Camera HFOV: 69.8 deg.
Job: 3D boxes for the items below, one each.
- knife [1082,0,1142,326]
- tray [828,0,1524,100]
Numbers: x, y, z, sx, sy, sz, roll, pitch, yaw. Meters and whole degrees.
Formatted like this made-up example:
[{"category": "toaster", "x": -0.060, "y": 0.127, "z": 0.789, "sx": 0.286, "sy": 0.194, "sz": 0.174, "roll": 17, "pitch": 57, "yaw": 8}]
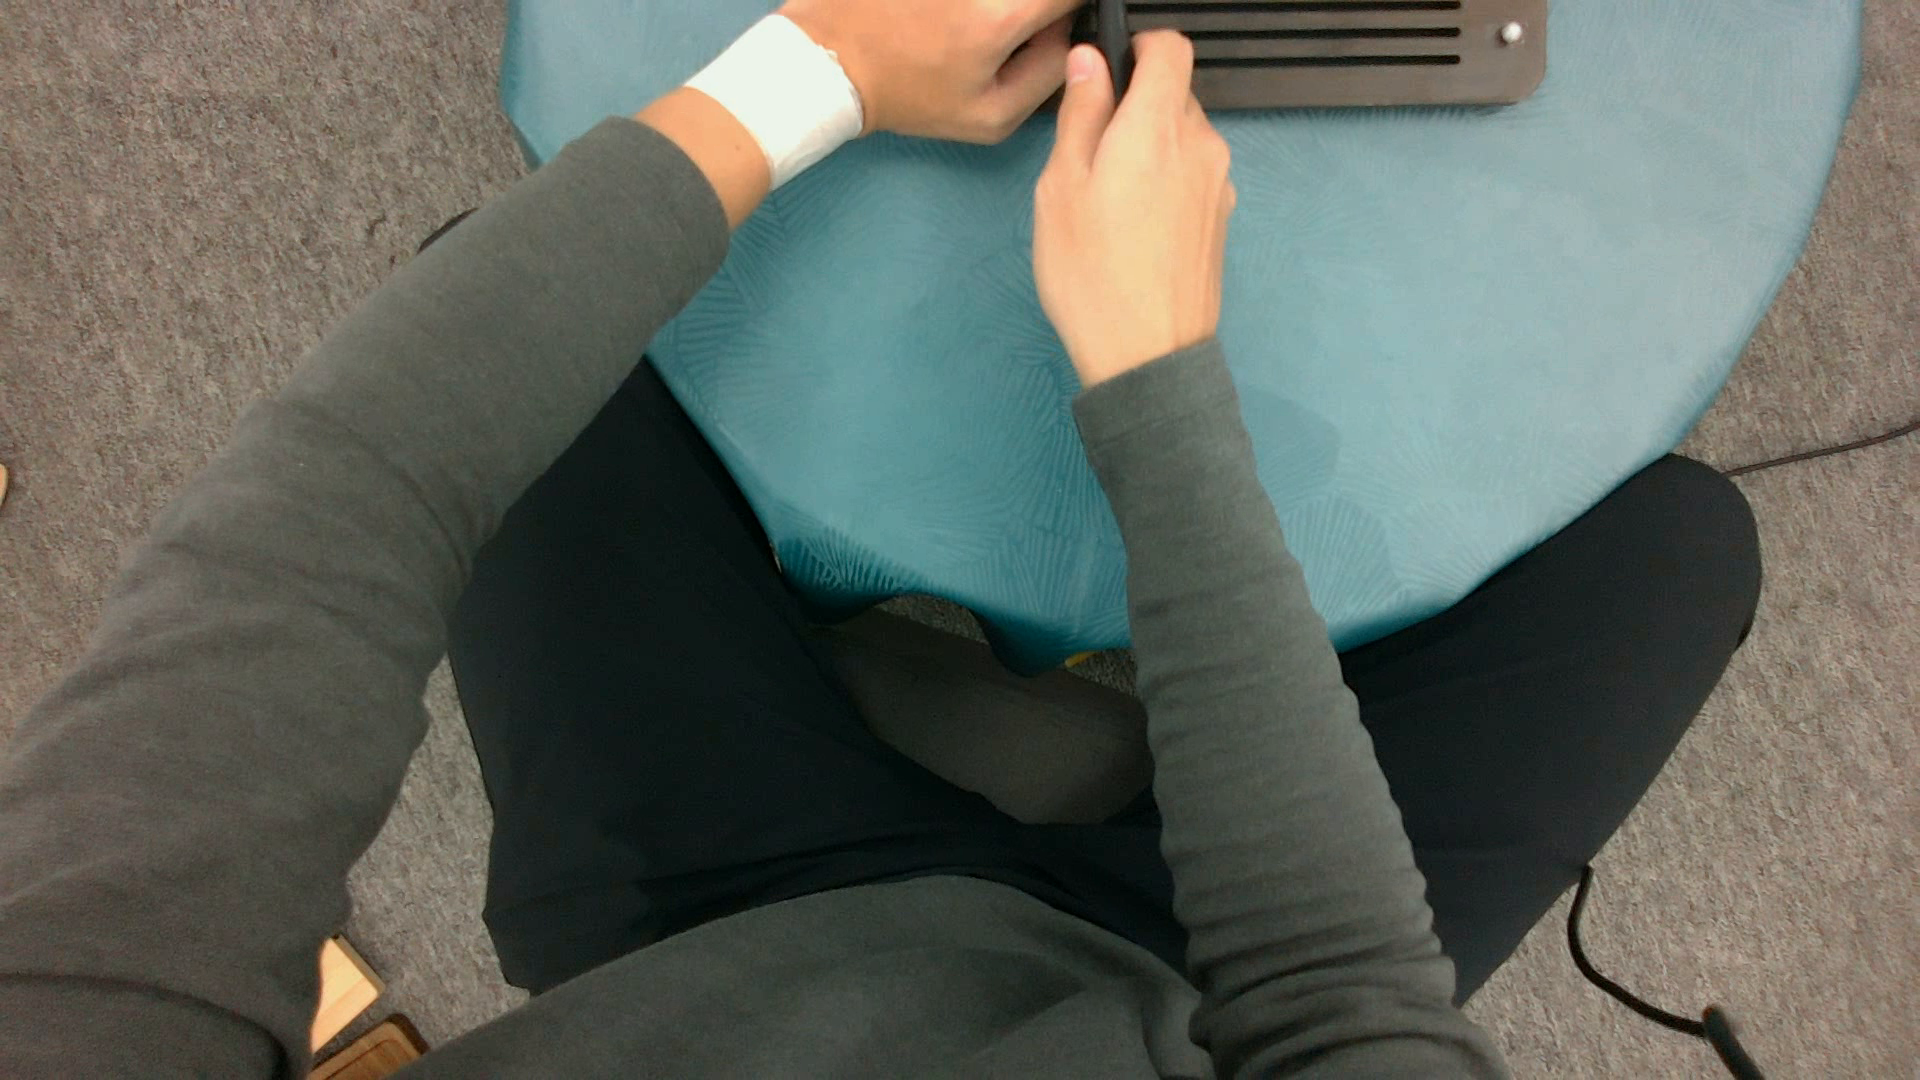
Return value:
[{"category": "knife", "x": 0.053, "y": -0.237, "z": 0.554, "sx": 0.021, "sy": 0.081, "sz": 0.302, "roll": -4, "pitch": 87, "yaw": 1}, {"category": "tray", "x": 0.094, "y": -0.280, "z": 0.602, "sx": 0.306, "sy": 0.018, "sz": 0.170, "roll": -1, "pitch": 95, "yaw": -2}]
